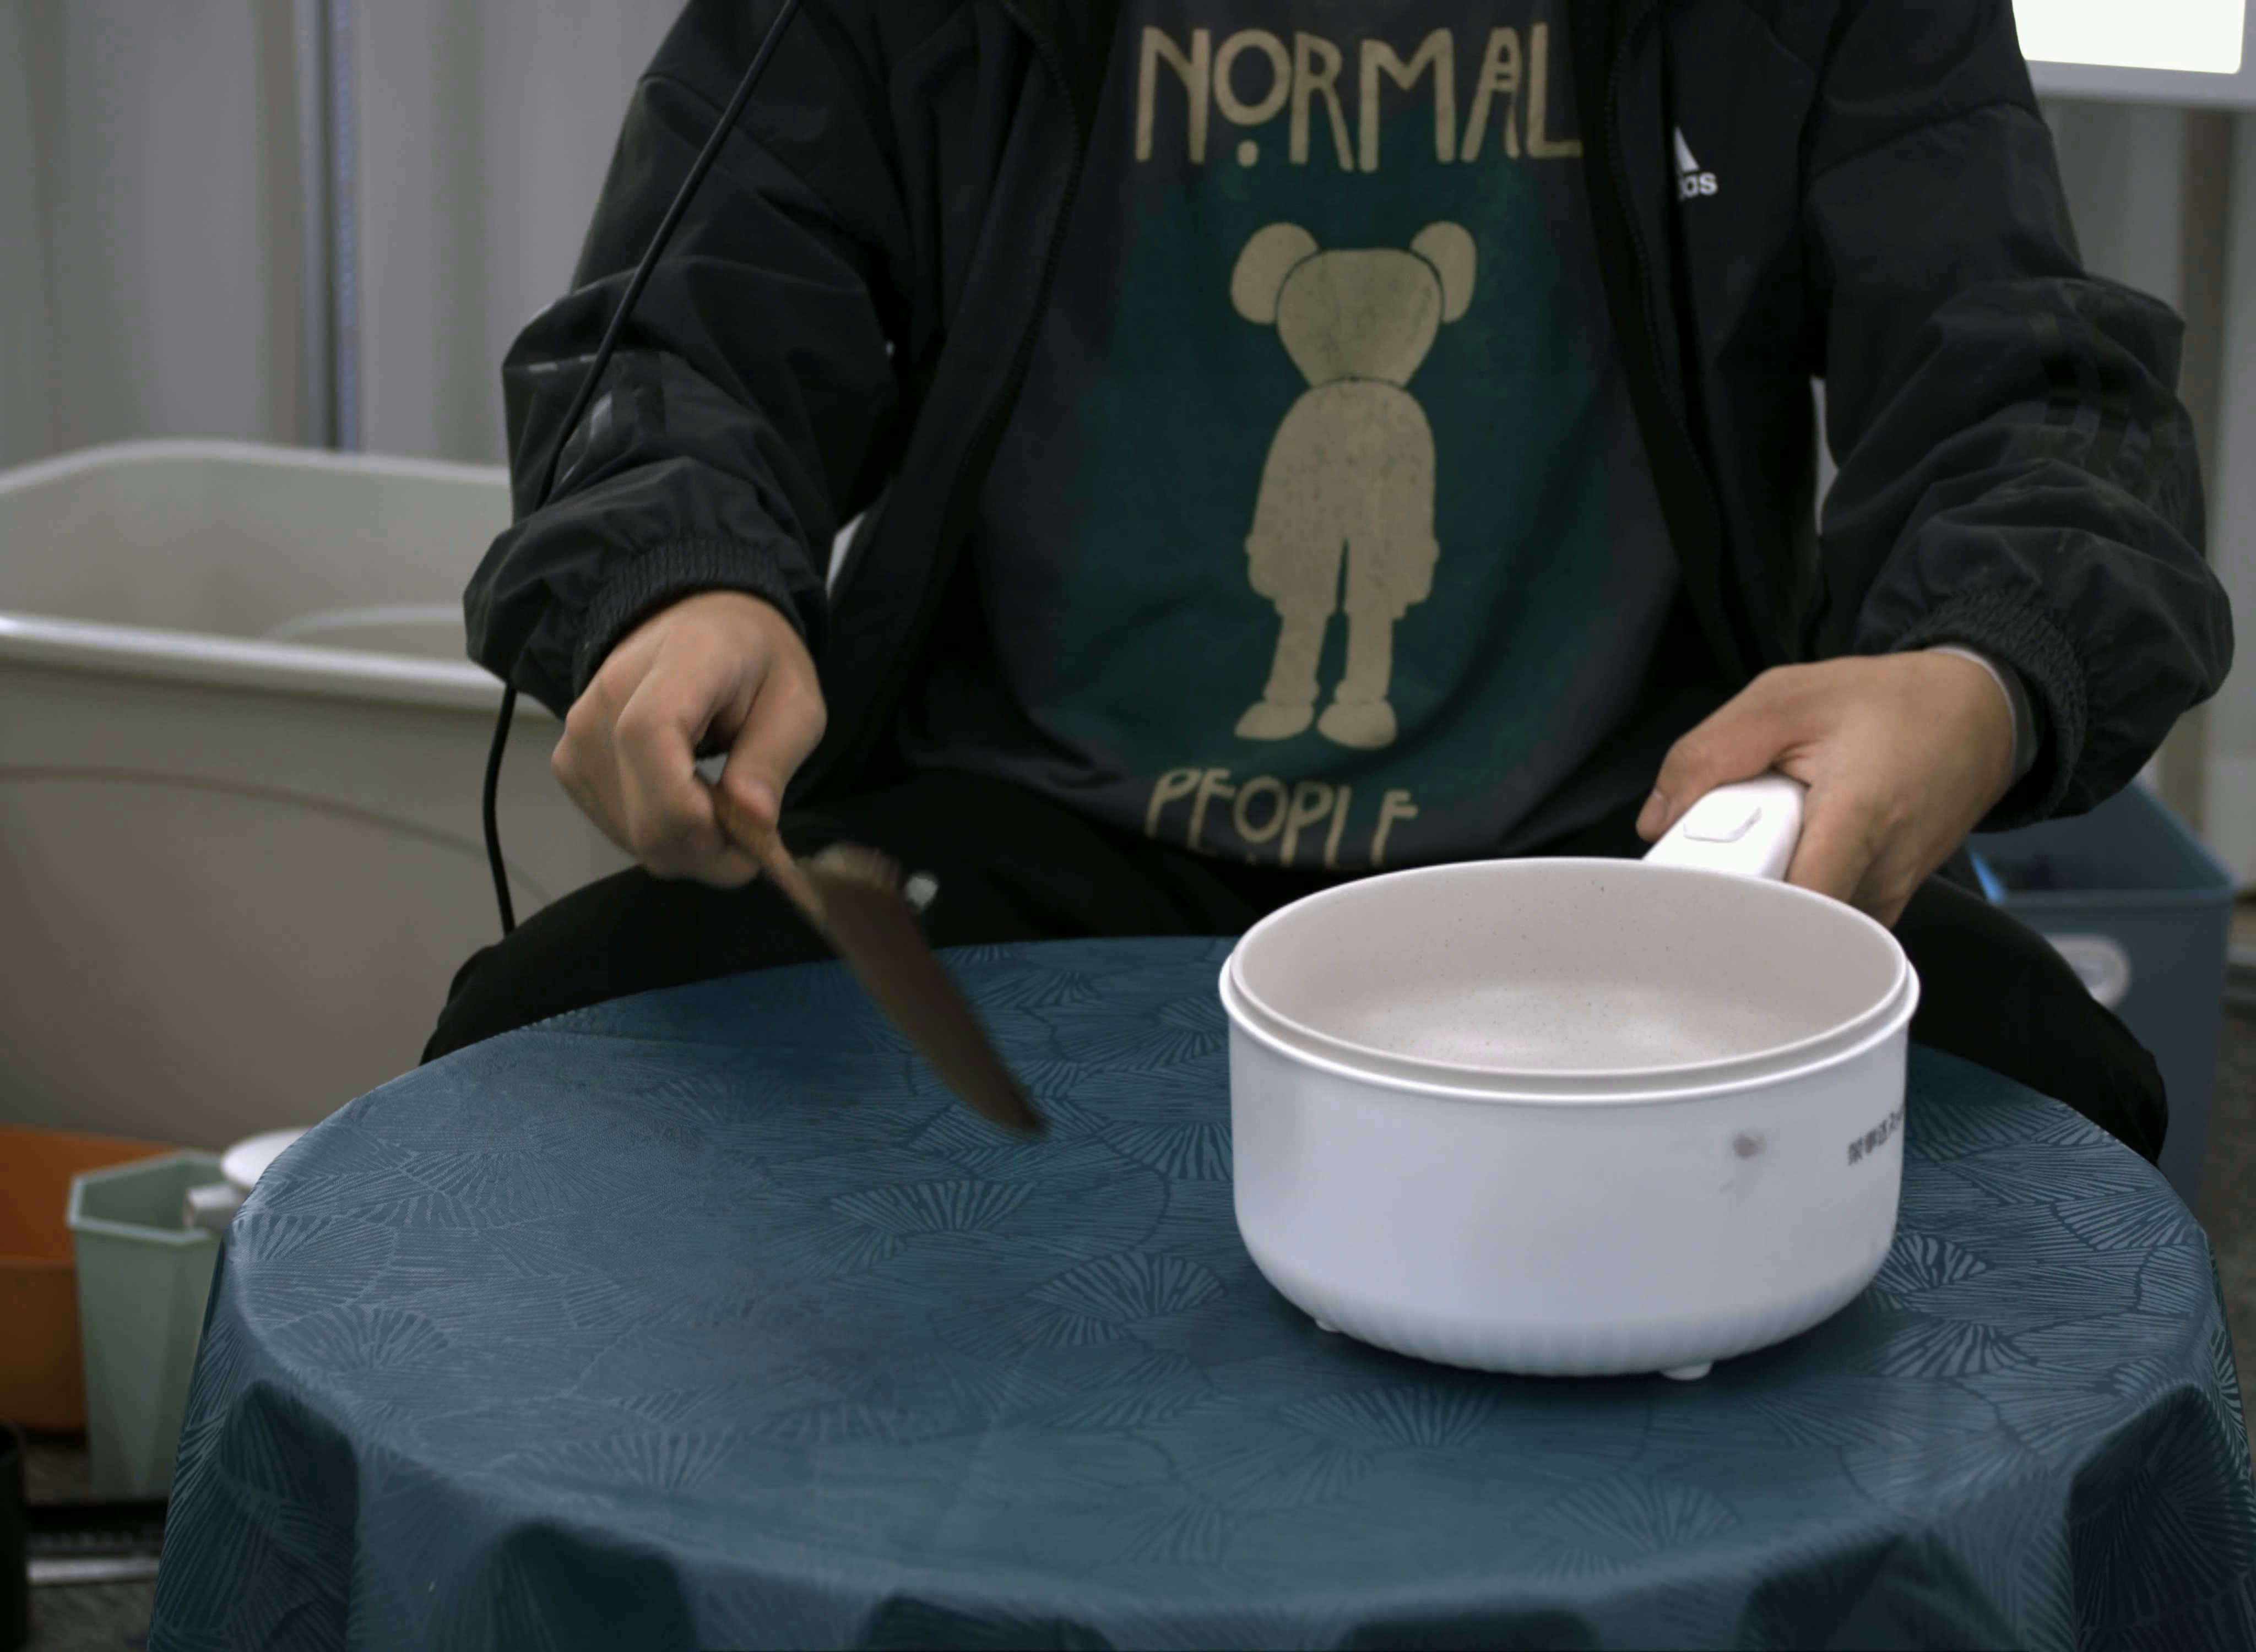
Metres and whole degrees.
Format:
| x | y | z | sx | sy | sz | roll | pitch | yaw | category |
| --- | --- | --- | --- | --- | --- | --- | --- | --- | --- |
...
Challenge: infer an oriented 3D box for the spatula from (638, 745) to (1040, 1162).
| x | y | z | sx | sy | sz | roll | pitch | yaw | category |
| --- | --- | --- | --- | --- | --- | --- | --- | --- | --- |
| -0.102 | 0.021 | 1.606 | 0.016 | 0.097 | 0.382 | -35 | 20 | -7 | spatula |

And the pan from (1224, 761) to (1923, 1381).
| x | y | z | sx | sy | sz | roll | pitch | yaw | category |
| --- | --- | --- | --- | --- | --- | --- | --- | --- | --- |
| 0.157 | 0.068 | 1.594 | 0.199 | 0.103 | 0.355 | 5 | 16 | 22 | pan |
